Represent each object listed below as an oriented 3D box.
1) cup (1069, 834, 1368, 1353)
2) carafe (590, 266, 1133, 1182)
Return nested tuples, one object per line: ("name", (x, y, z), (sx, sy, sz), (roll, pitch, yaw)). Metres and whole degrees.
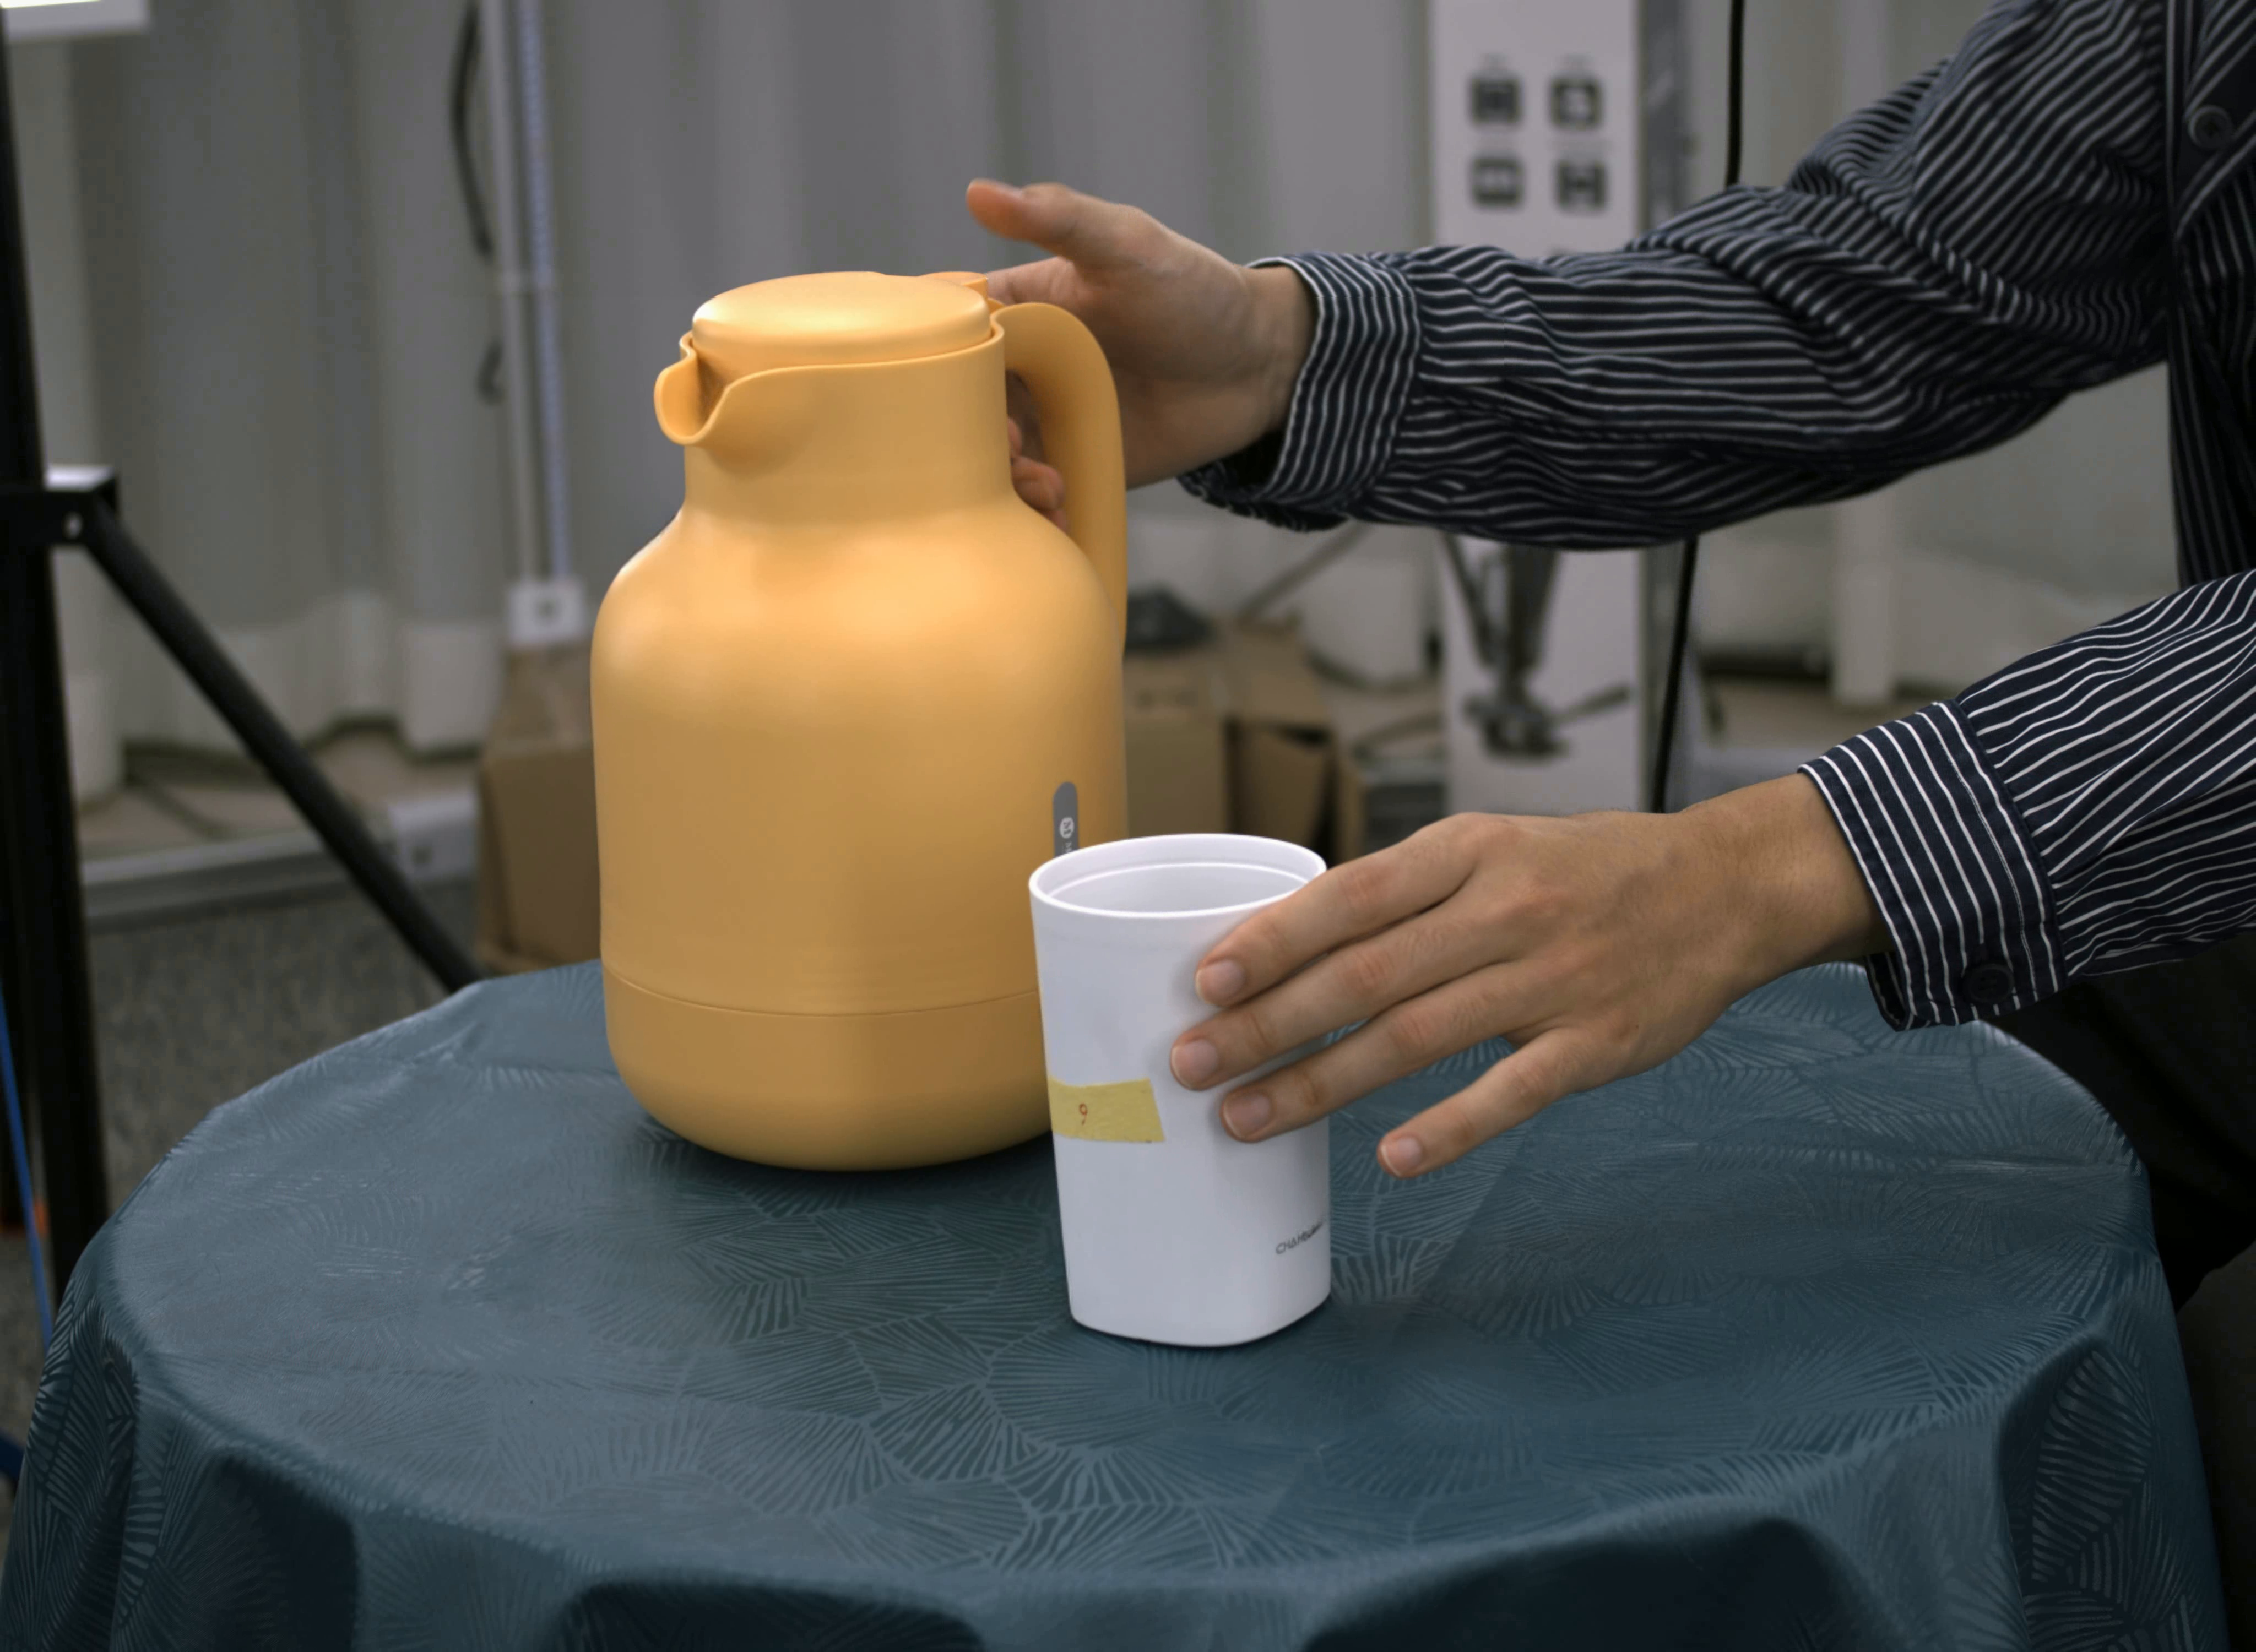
("cup", (0.027, 0.073, 1.444), (0.081, 0.125, 0.082), (-3, 14, -1))
("carafe", (-0.068, -0.038, 1.610), (0.167, 0.260, 0.198), (10, 20, 34))
